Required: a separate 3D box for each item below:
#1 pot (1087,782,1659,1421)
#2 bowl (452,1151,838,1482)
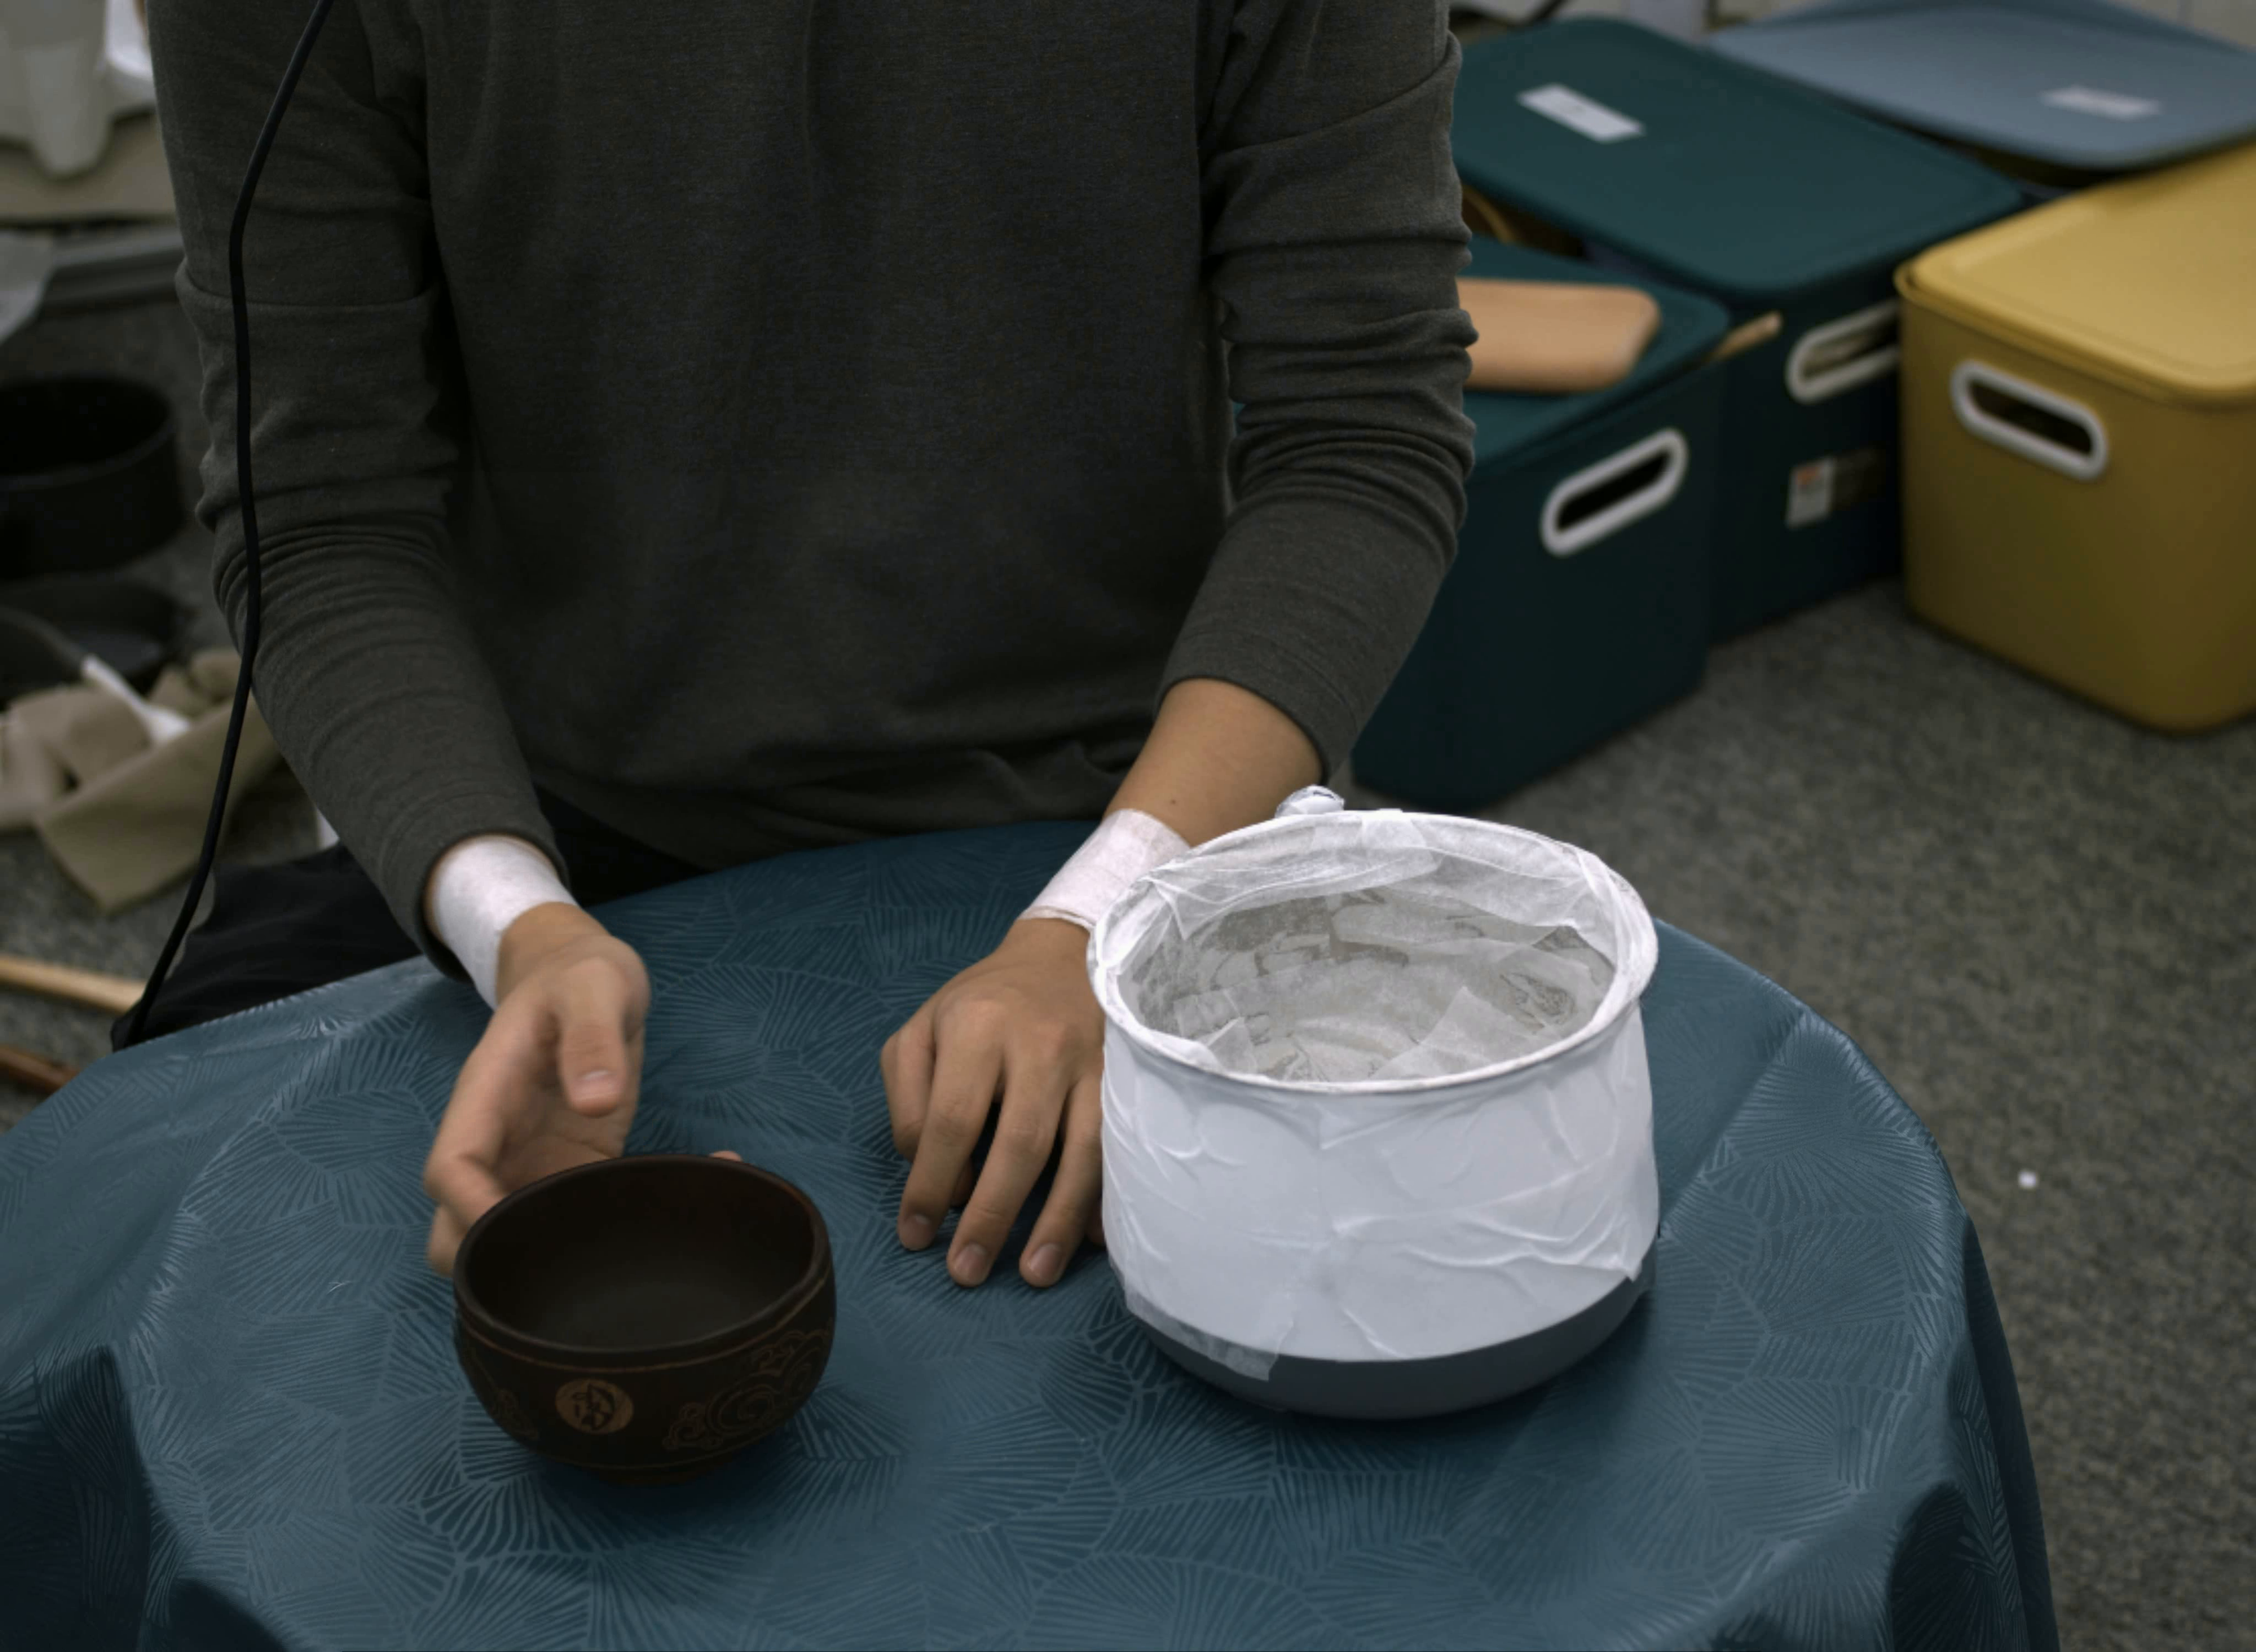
[{"bbox_3d":[0.073,0.079,1.788,0.178,0.135,0.236,-6,27,-8],"label":"pot"},{"bbox_3d":[-0.147,0.158,1.727,0.117,0.069,0.120,-3,25,2],"label":"bowl"}]
